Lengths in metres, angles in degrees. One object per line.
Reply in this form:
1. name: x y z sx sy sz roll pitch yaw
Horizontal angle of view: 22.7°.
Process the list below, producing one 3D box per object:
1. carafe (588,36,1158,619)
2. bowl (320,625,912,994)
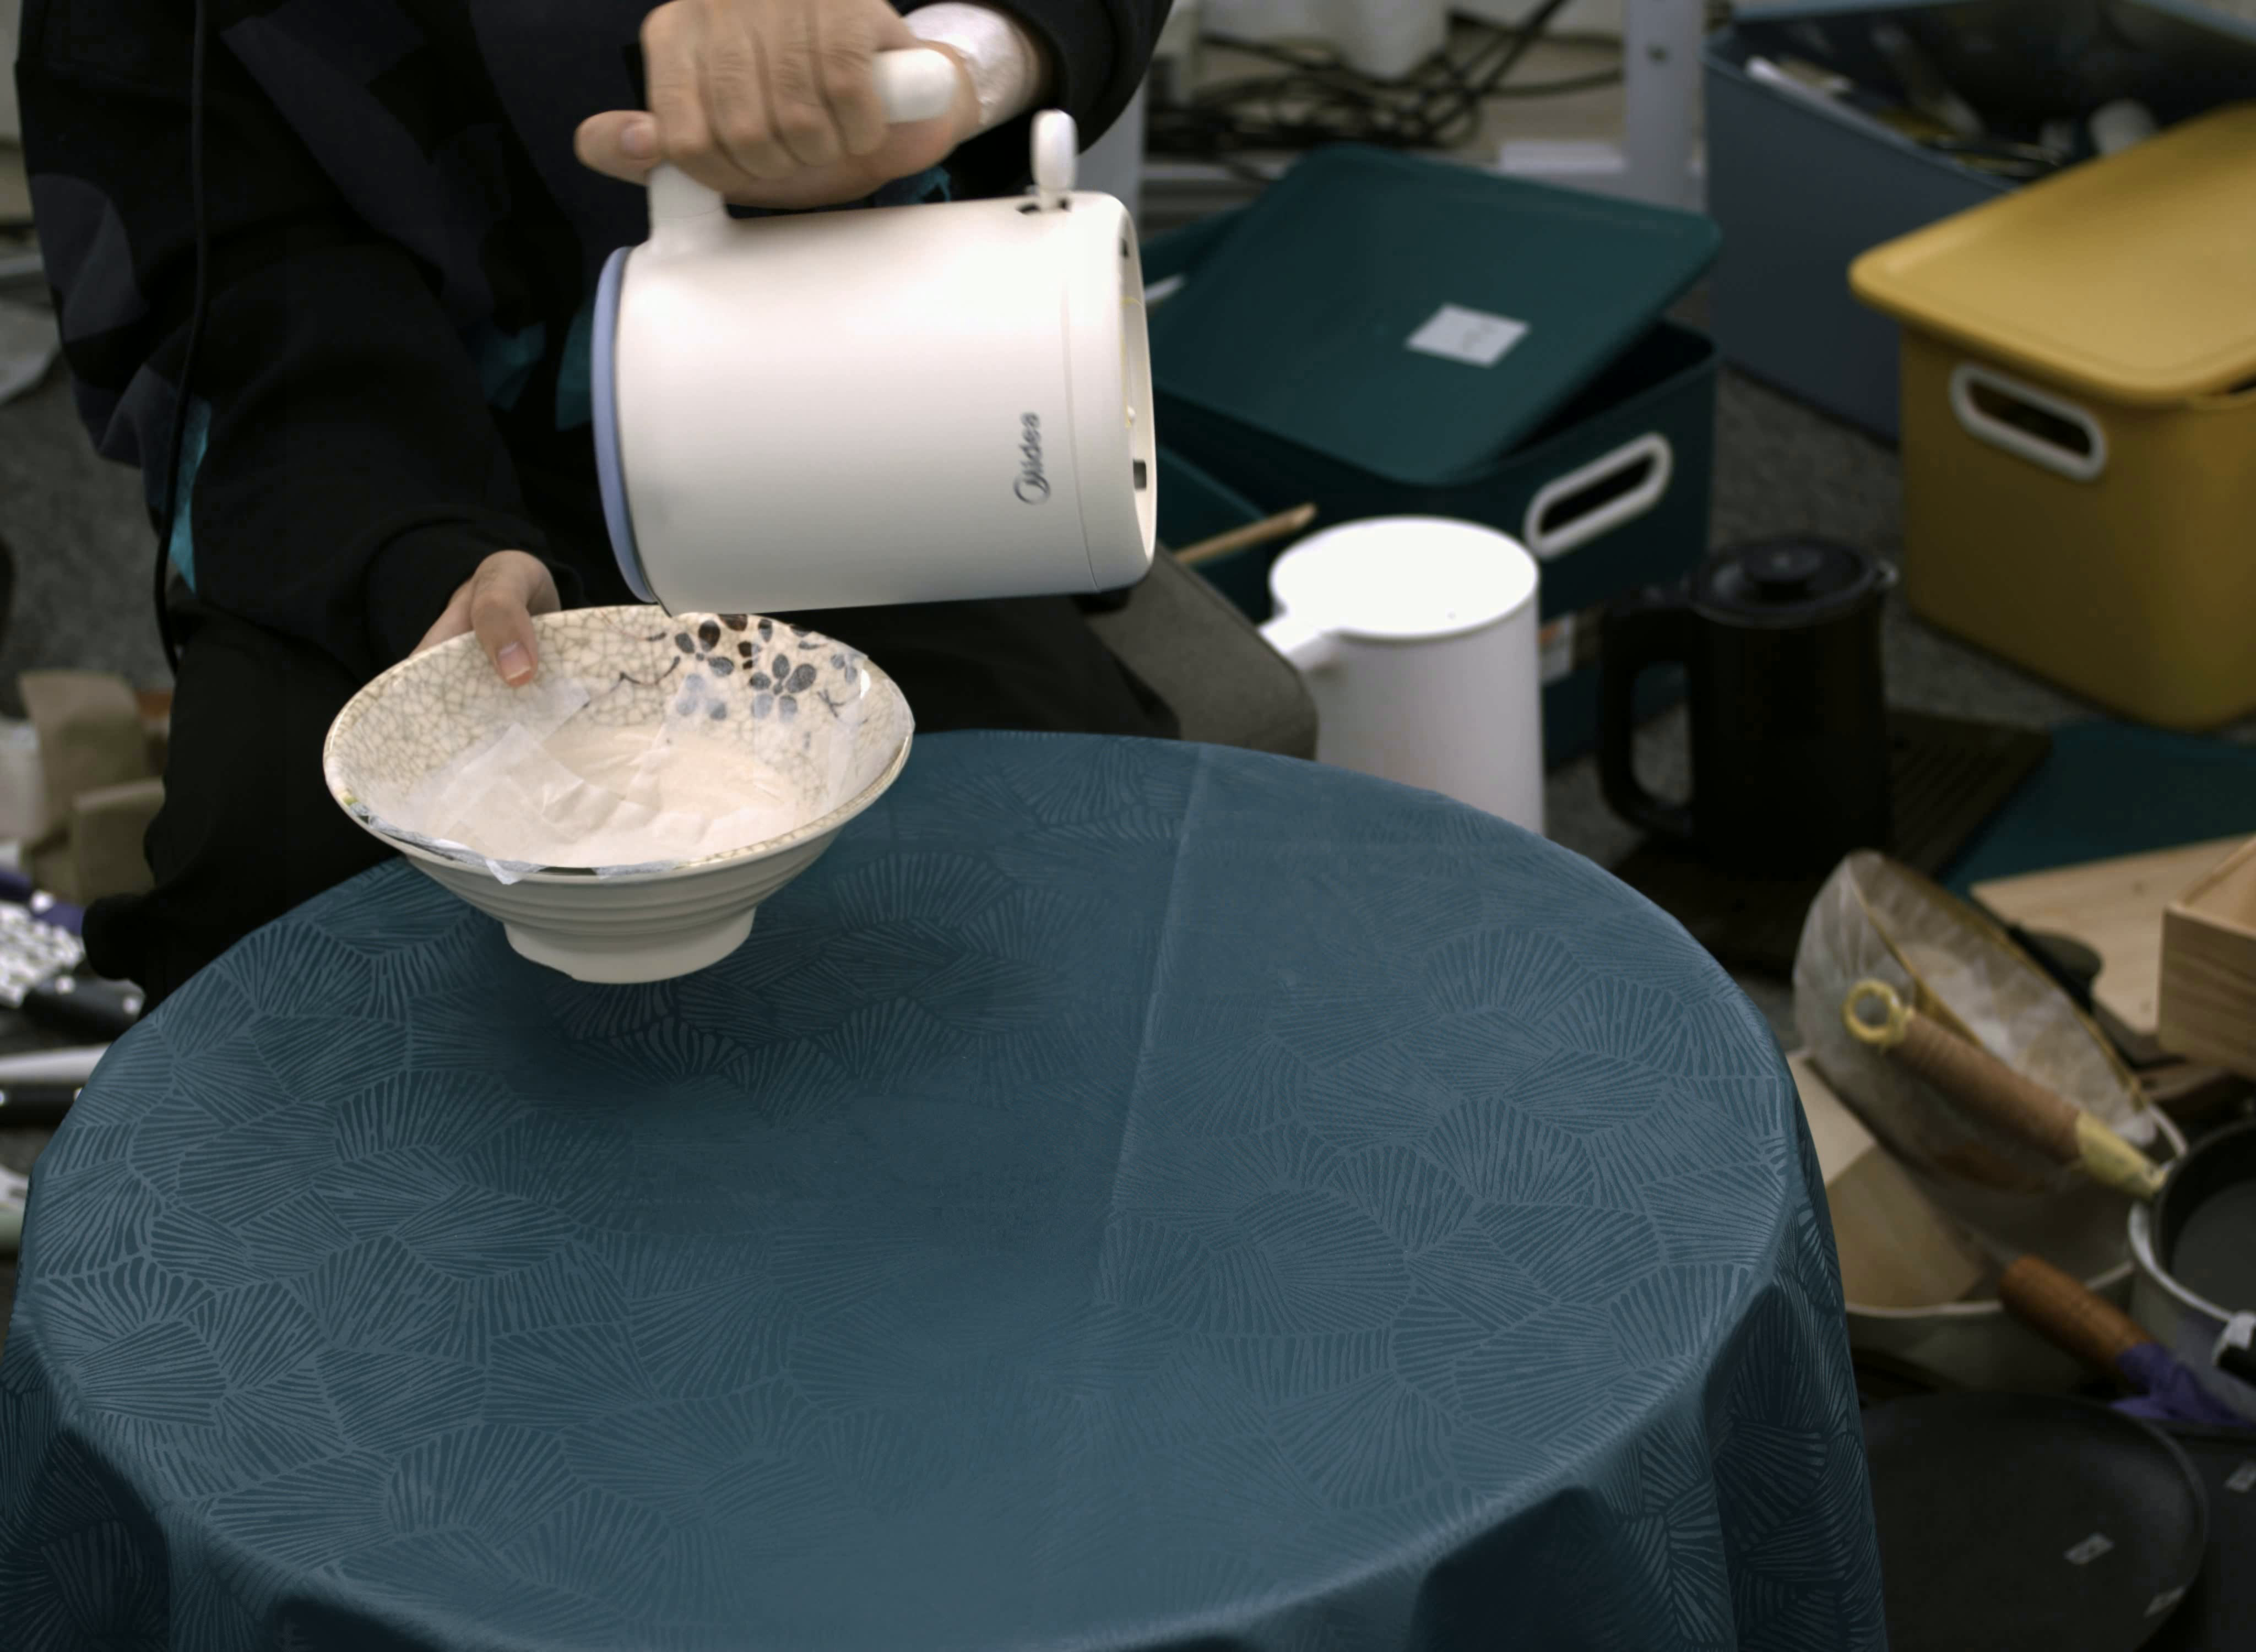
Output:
1. carafe: -0.083 -0.163 1.852 0.181 0.190 0.134 -3 19 3
2. bowl: -0.175 0.005 1.947 0.203 0.077 0.207 0 24 0
